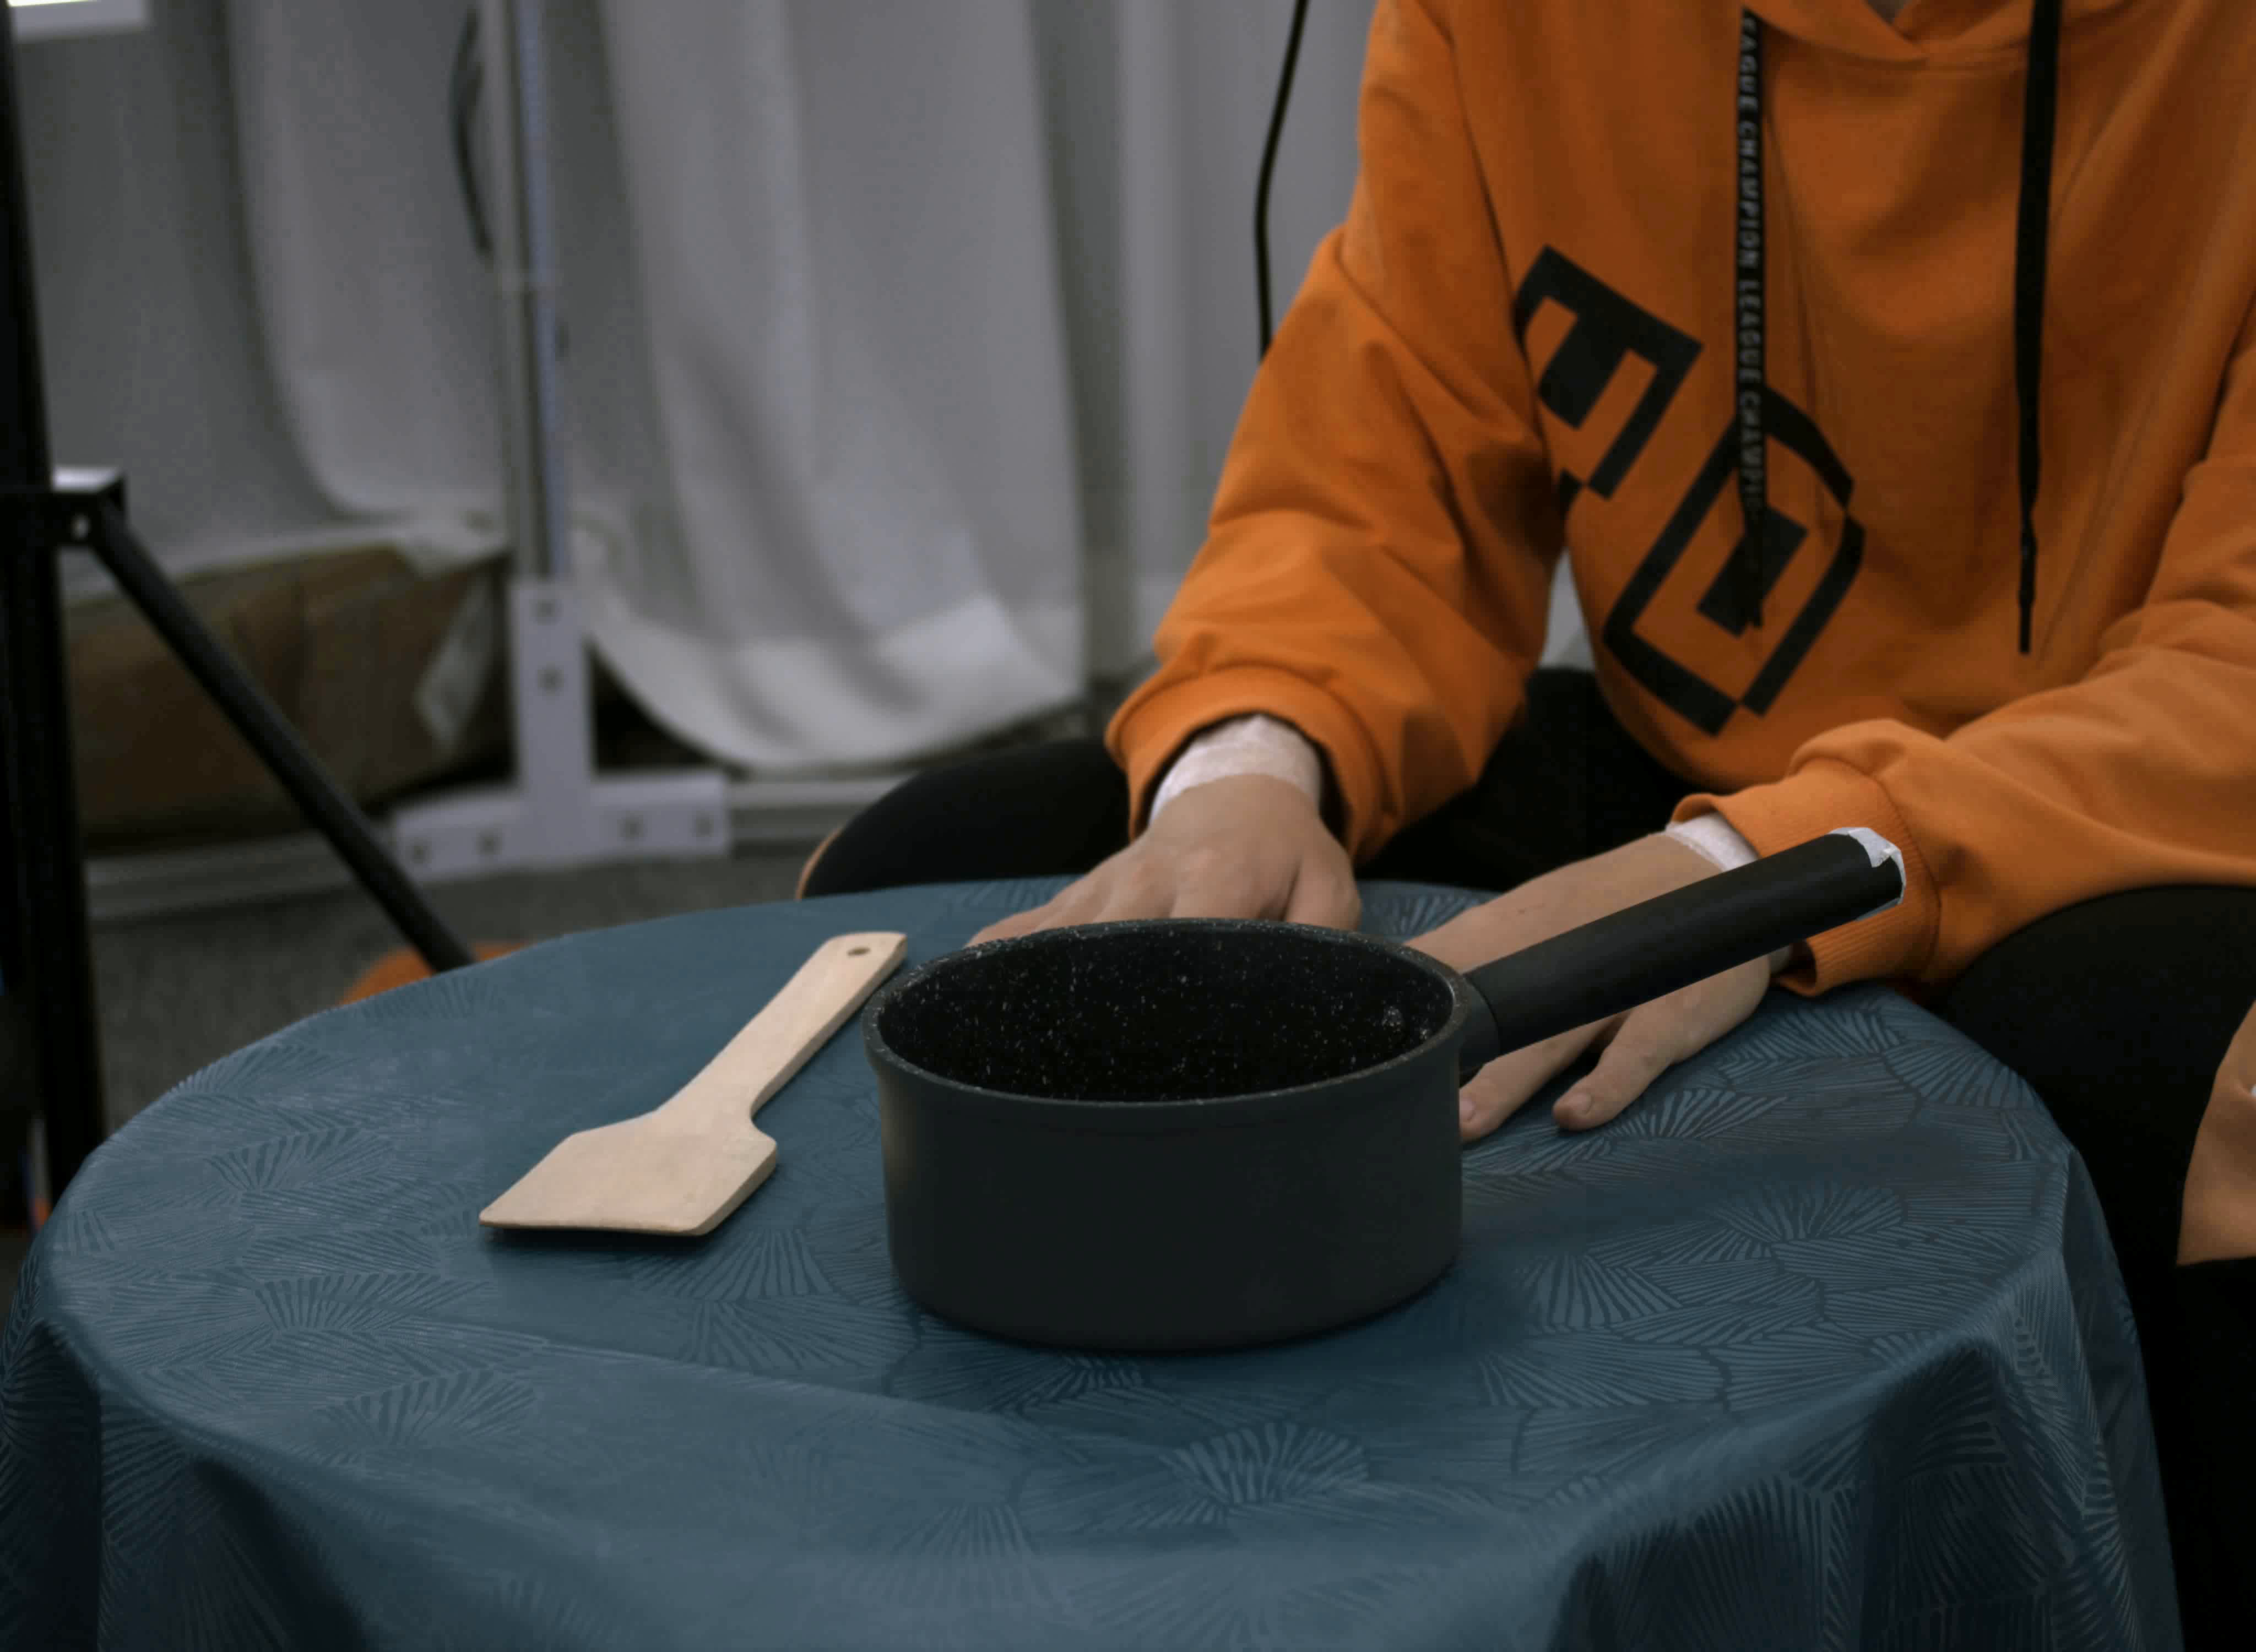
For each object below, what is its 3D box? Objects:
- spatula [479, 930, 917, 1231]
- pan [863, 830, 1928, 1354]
[{"bbox_3d":[-0.120,0.078,1.668,0.073,0.010,0.290,-2,15,16],"label":"spatula"},{"bbox_3d":[0.084,0.071,1.520,0.322,0.086,0.175,-11,18,-21],"label":"pan"}]
